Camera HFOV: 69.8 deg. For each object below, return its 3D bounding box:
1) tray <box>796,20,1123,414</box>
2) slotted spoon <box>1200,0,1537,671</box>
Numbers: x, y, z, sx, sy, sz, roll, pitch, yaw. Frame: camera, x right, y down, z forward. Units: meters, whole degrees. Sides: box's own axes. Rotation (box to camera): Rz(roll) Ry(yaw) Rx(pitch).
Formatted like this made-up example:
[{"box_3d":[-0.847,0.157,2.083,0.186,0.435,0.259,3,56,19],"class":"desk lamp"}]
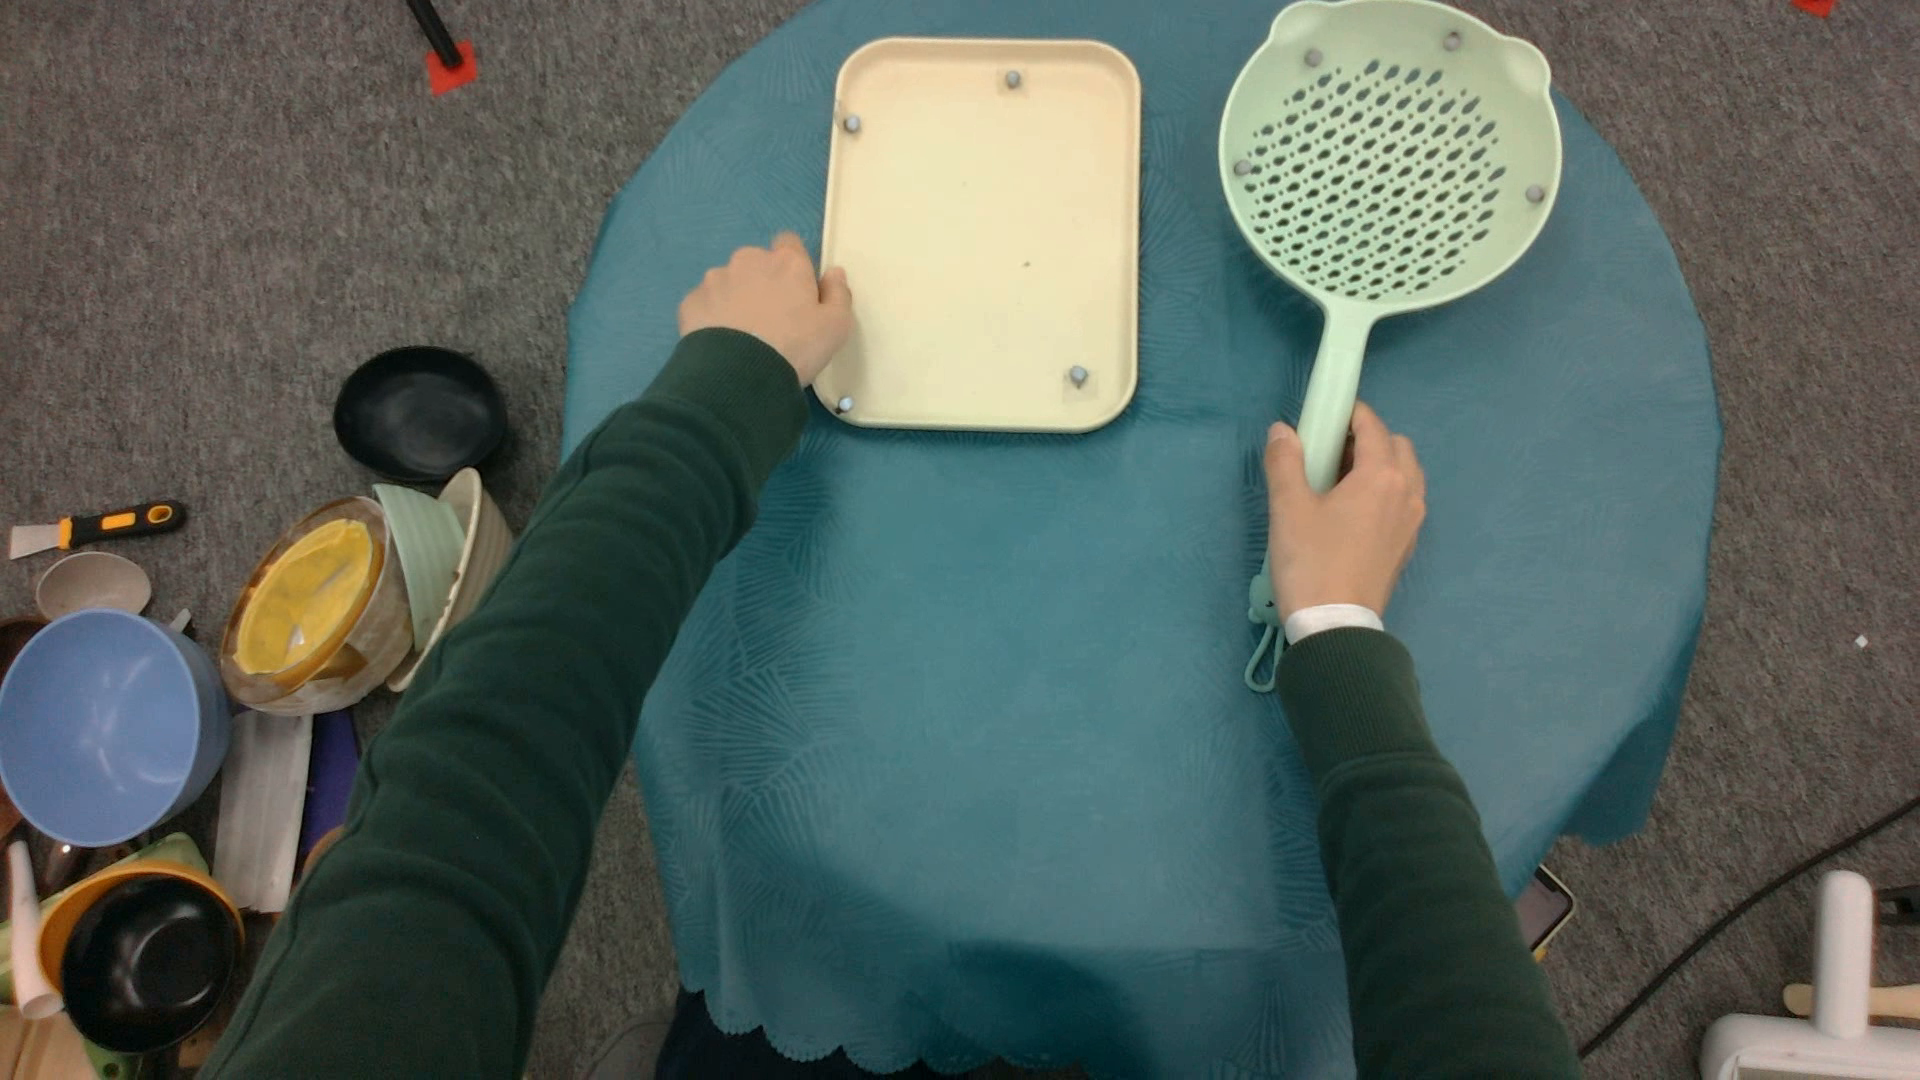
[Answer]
[{"box_3d":[0.002,-0.178,0.746,0.171,0.017,0.240,1,72,2],"class":"tray"},{"box_3d":[0.183,-0.112,0.693,0.169,0.075,0.360,14,72,6],"class":"slotted spoon"}]
